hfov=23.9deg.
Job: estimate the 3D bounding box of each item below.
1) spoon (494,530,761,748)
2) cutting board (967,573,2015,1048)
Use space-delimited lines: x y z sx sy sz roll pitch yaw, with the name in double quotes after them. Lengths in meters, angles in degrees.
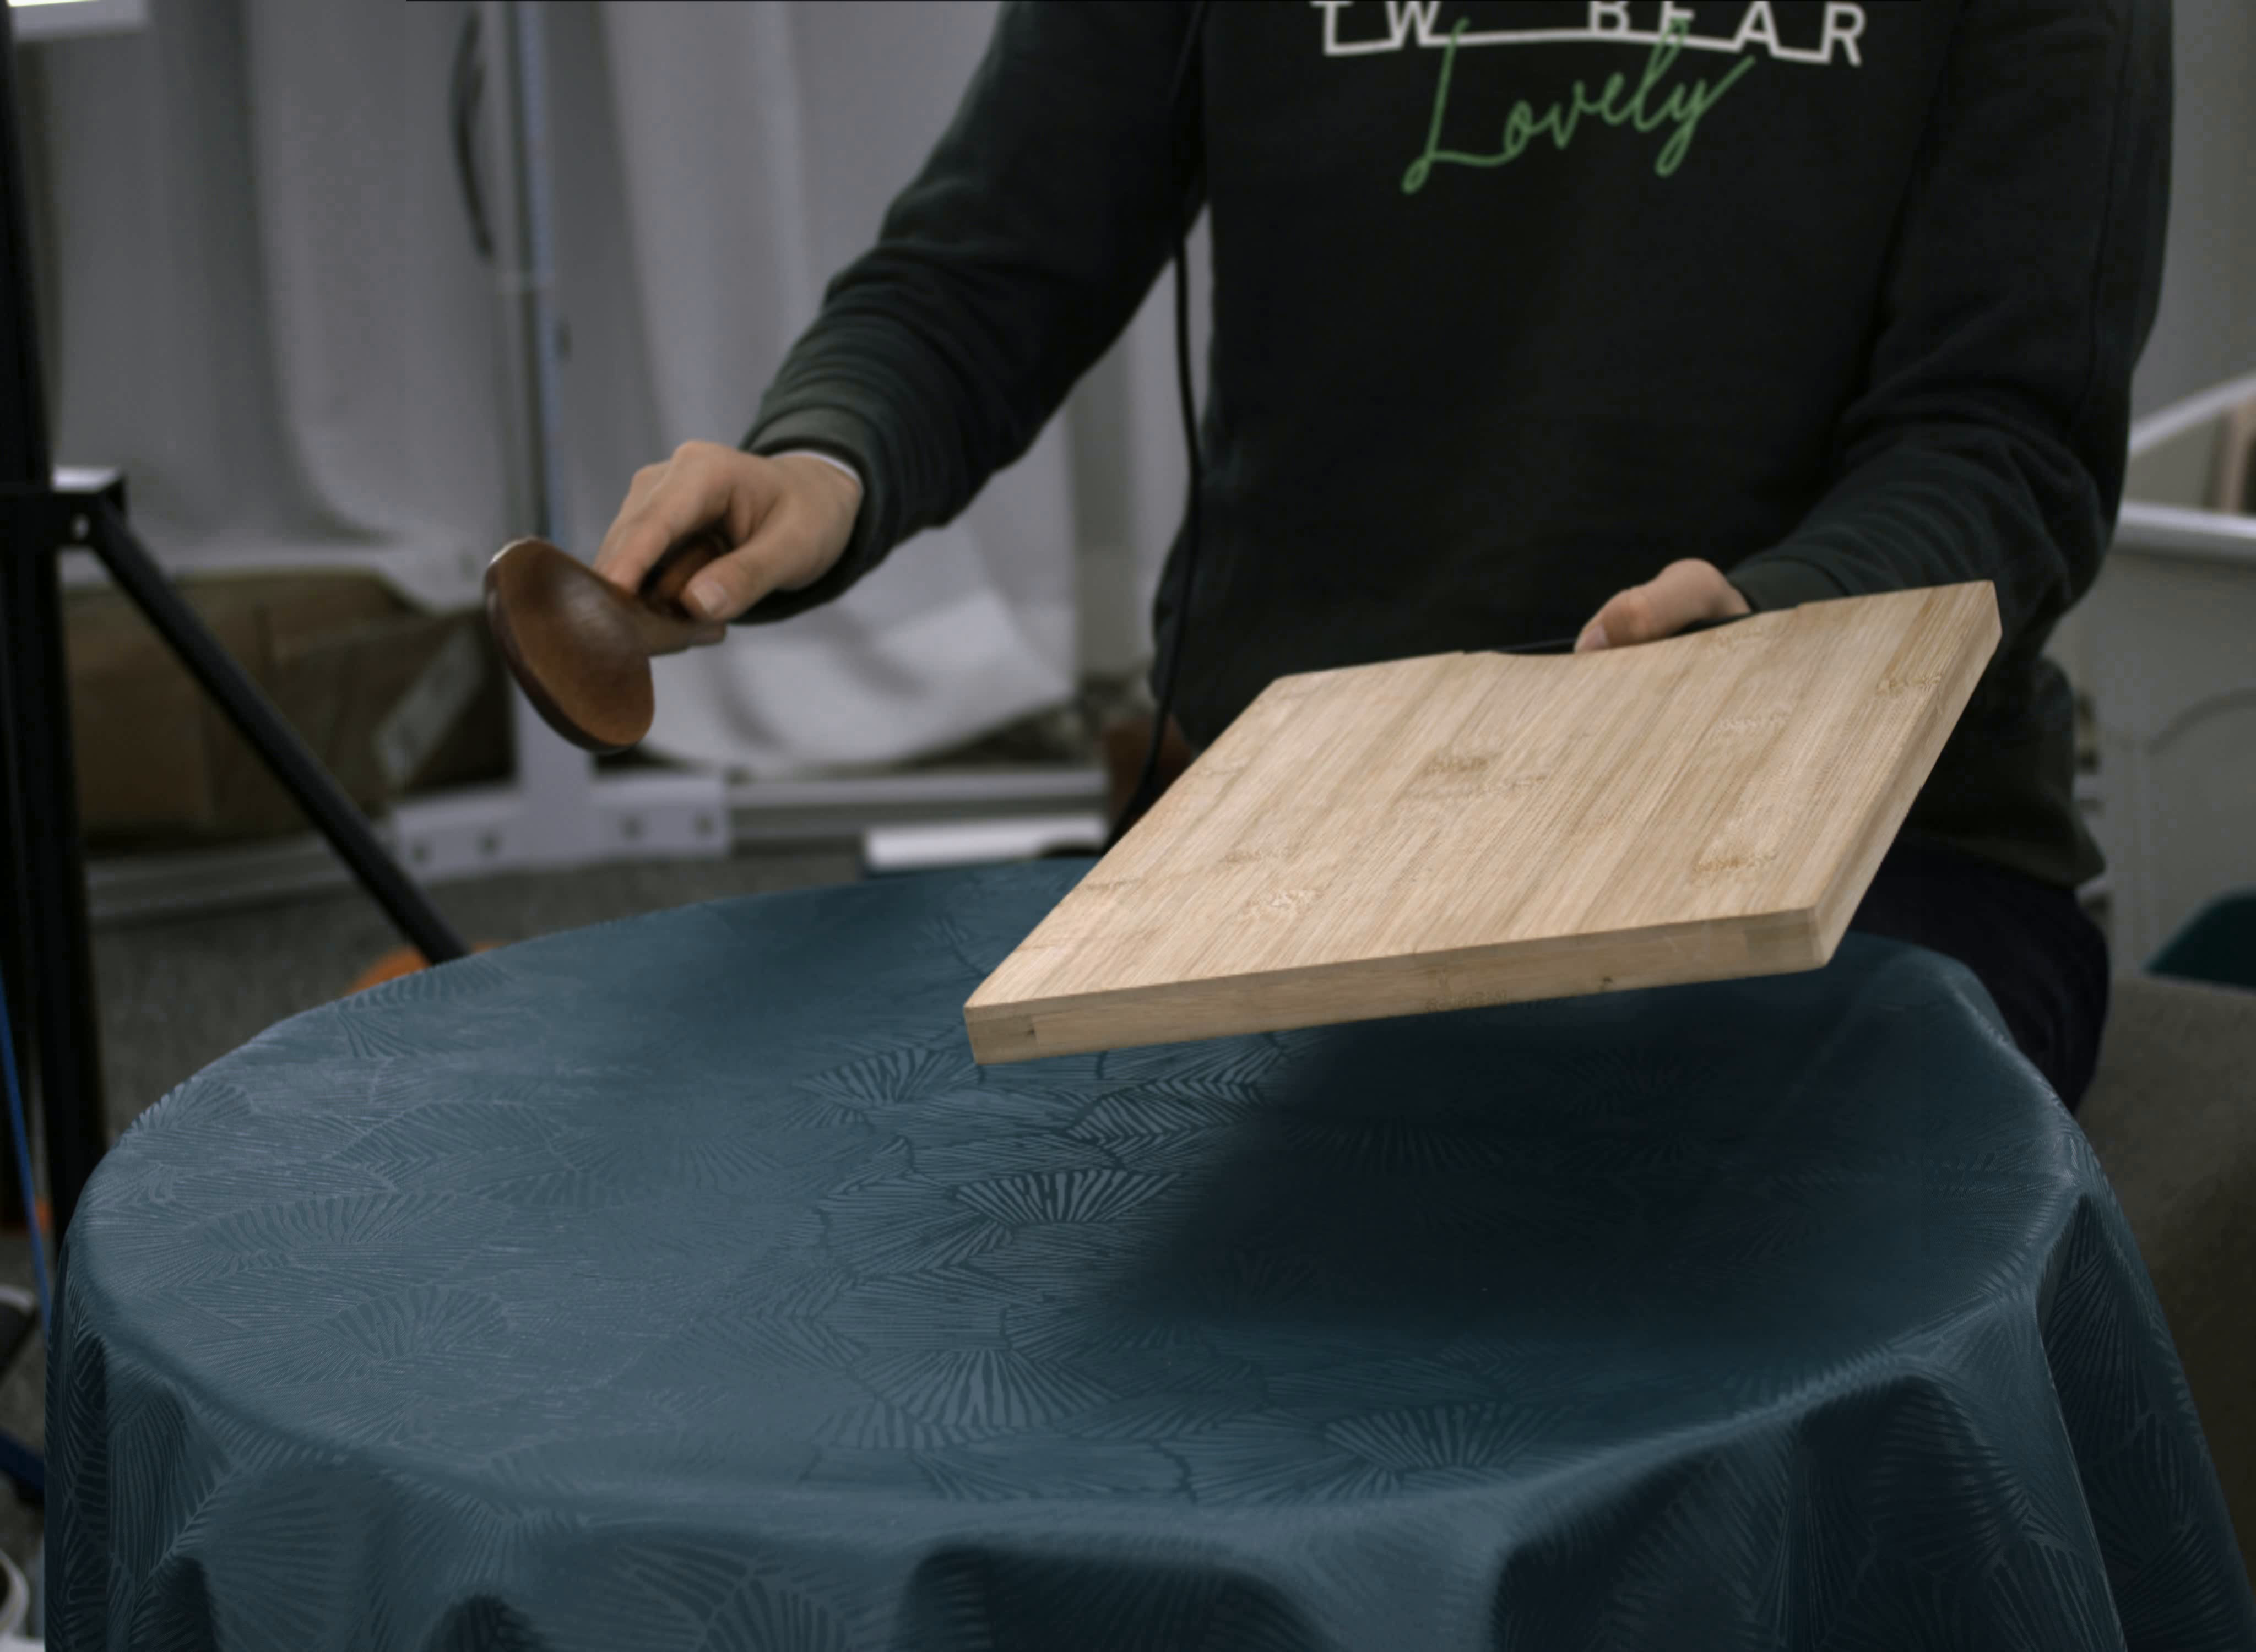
-0.159 -0.068 1.738 0.017 0.075 0.214 -32 2 19 "spoon"
0.118 -0.007 1.564 0.253 0.023 0.345 -7 15 19 "cutting board"
